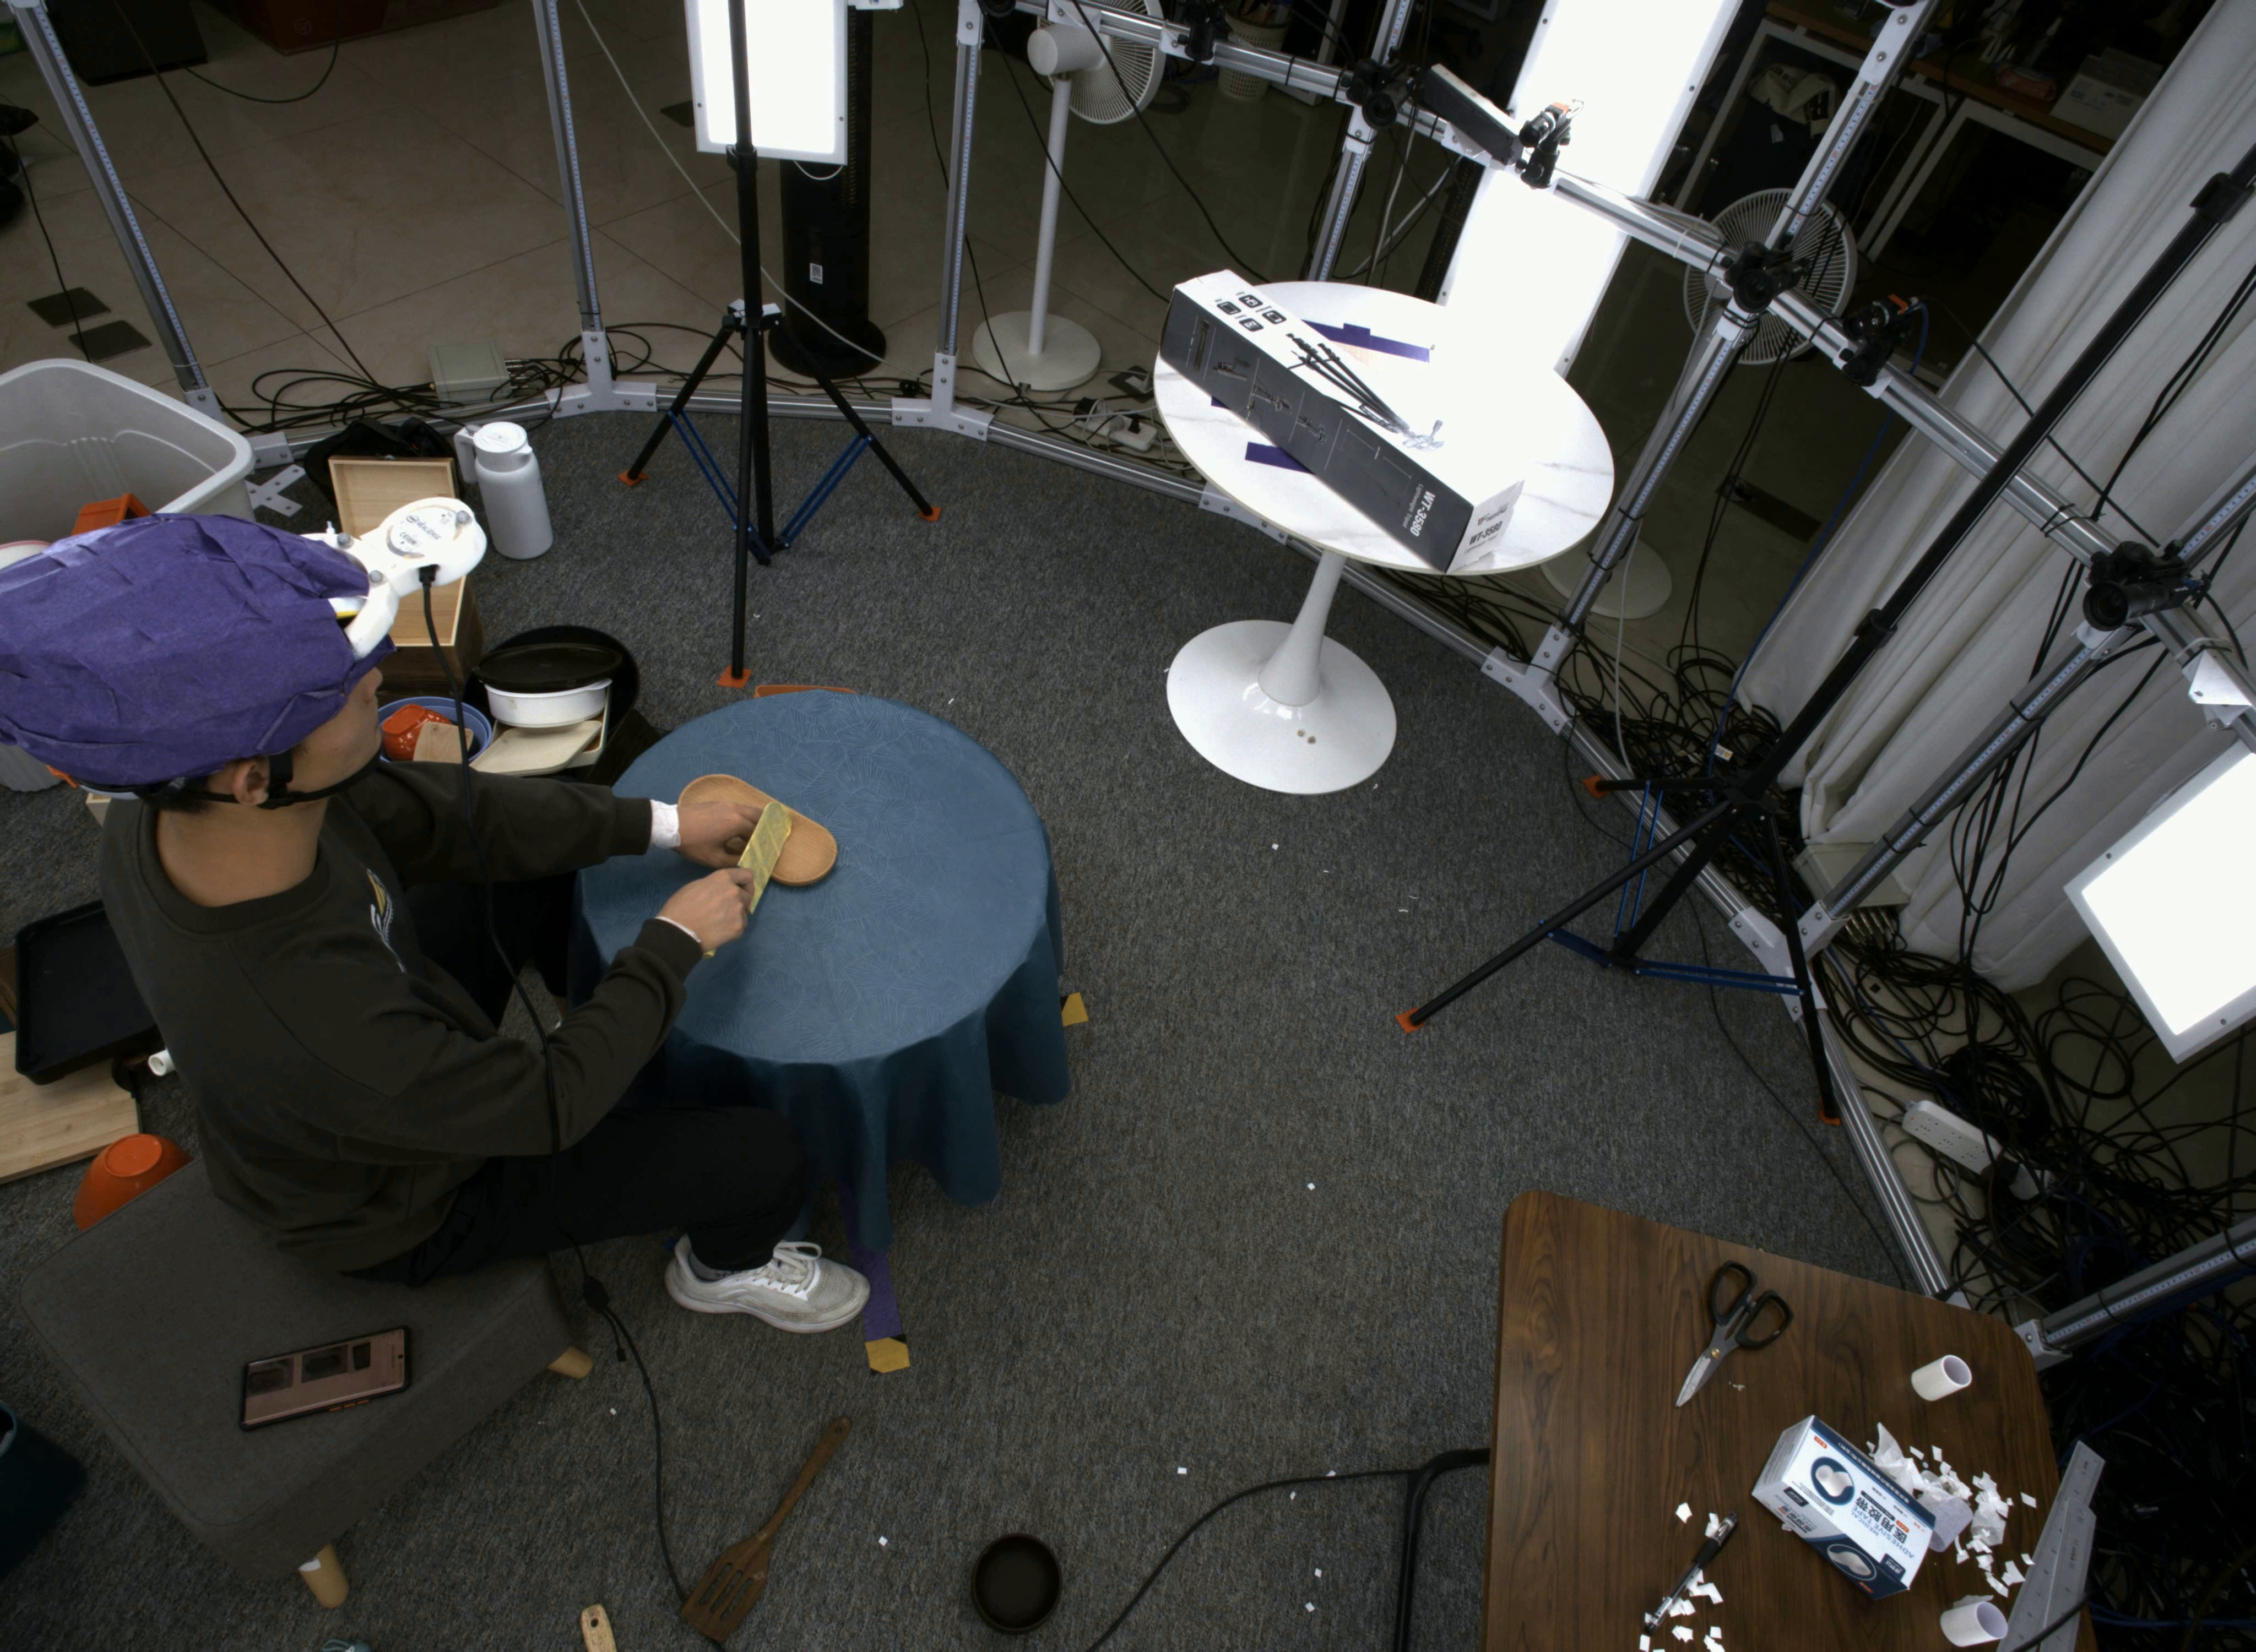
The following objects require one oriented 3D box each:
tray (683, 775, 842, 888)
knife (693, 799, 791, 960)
[{"bbox_3d":[-0.483,0.006,1.706,0.228,0.020,0.101,29,55,6],"label":"tray"},{"bbox_3d":[-0.469,0.065,1.601,0.026,0.084,0.285,-1,40,13],"label":"knife"}]
